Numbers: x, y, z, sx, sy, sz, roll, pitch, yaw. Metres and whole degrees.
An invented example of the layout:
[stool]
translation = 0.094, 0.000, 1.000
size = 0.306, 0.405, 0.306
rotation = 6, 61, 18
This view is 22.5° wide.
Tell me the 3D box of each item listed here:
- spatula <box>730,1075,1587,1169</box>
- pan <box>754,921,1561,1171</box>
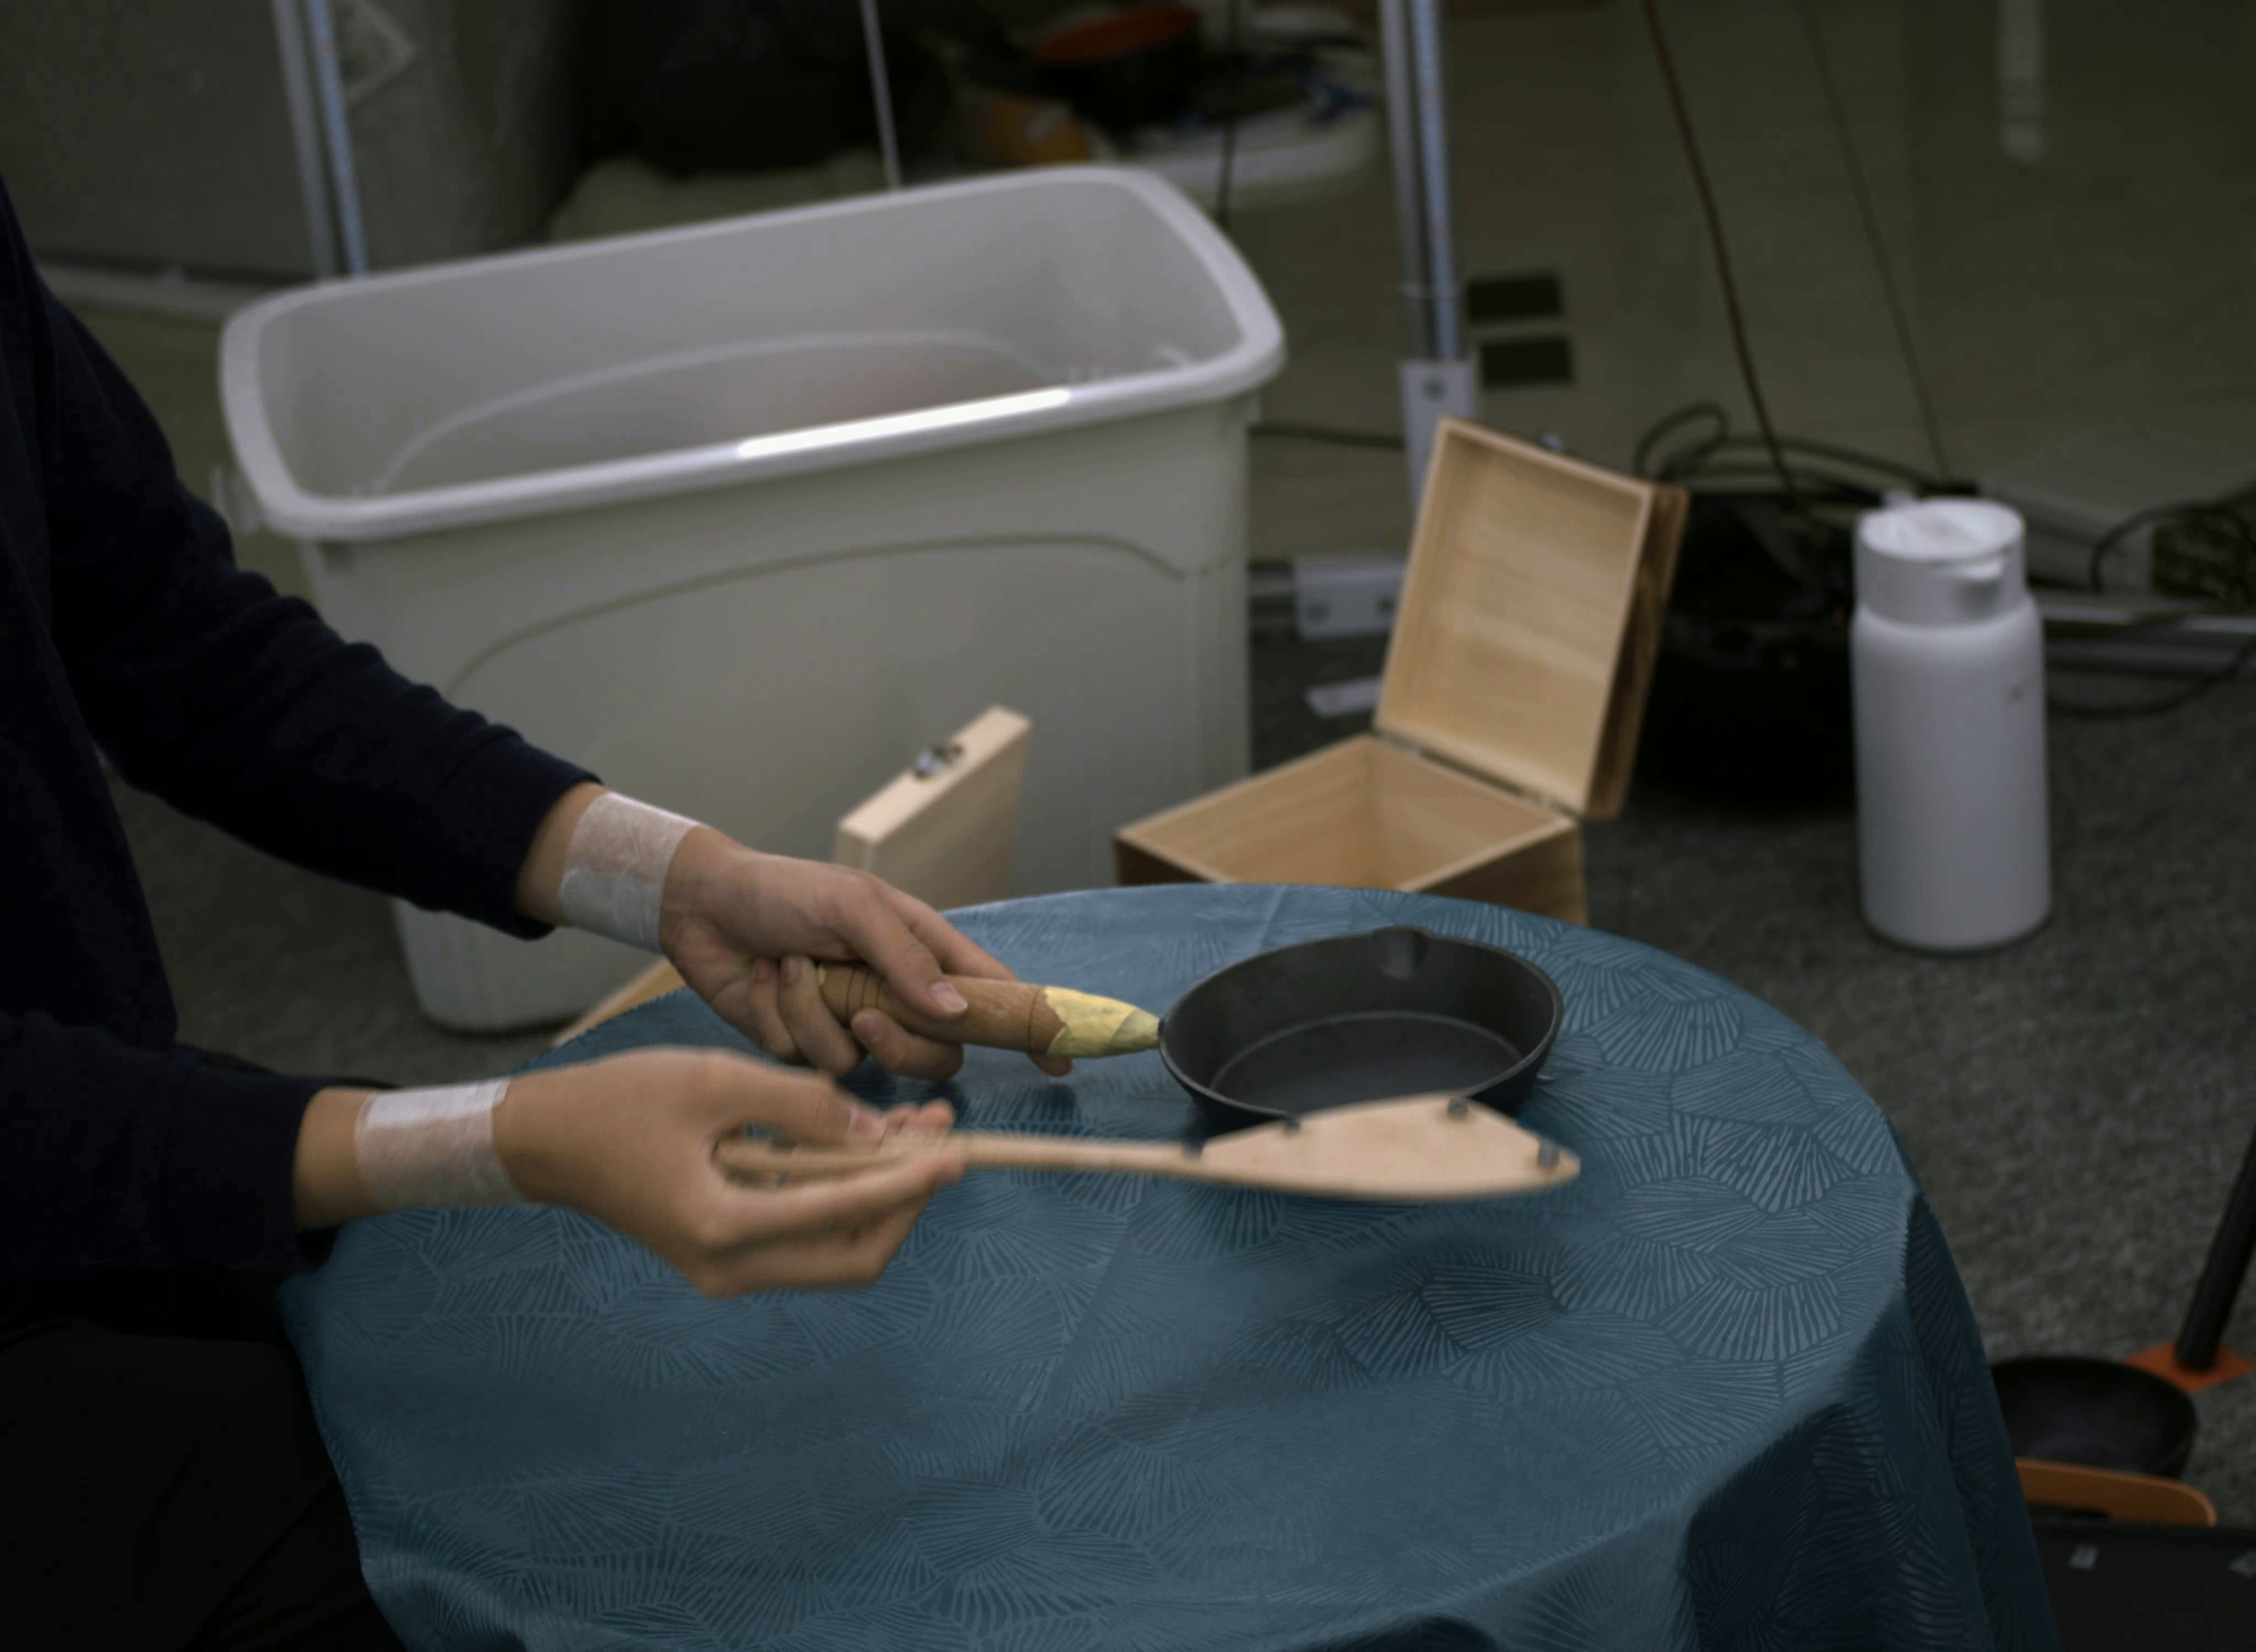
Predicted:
[spatula]
translation = 0.008, 0.103, 1.979
size = 0.327, 0.017, 0.079
rotation = 2, 16, -32
[pan]
translation = 0.009, 0.079, 2.212
size = 0.323, 0.050, 0.166
rotation = 3, 27, 17
